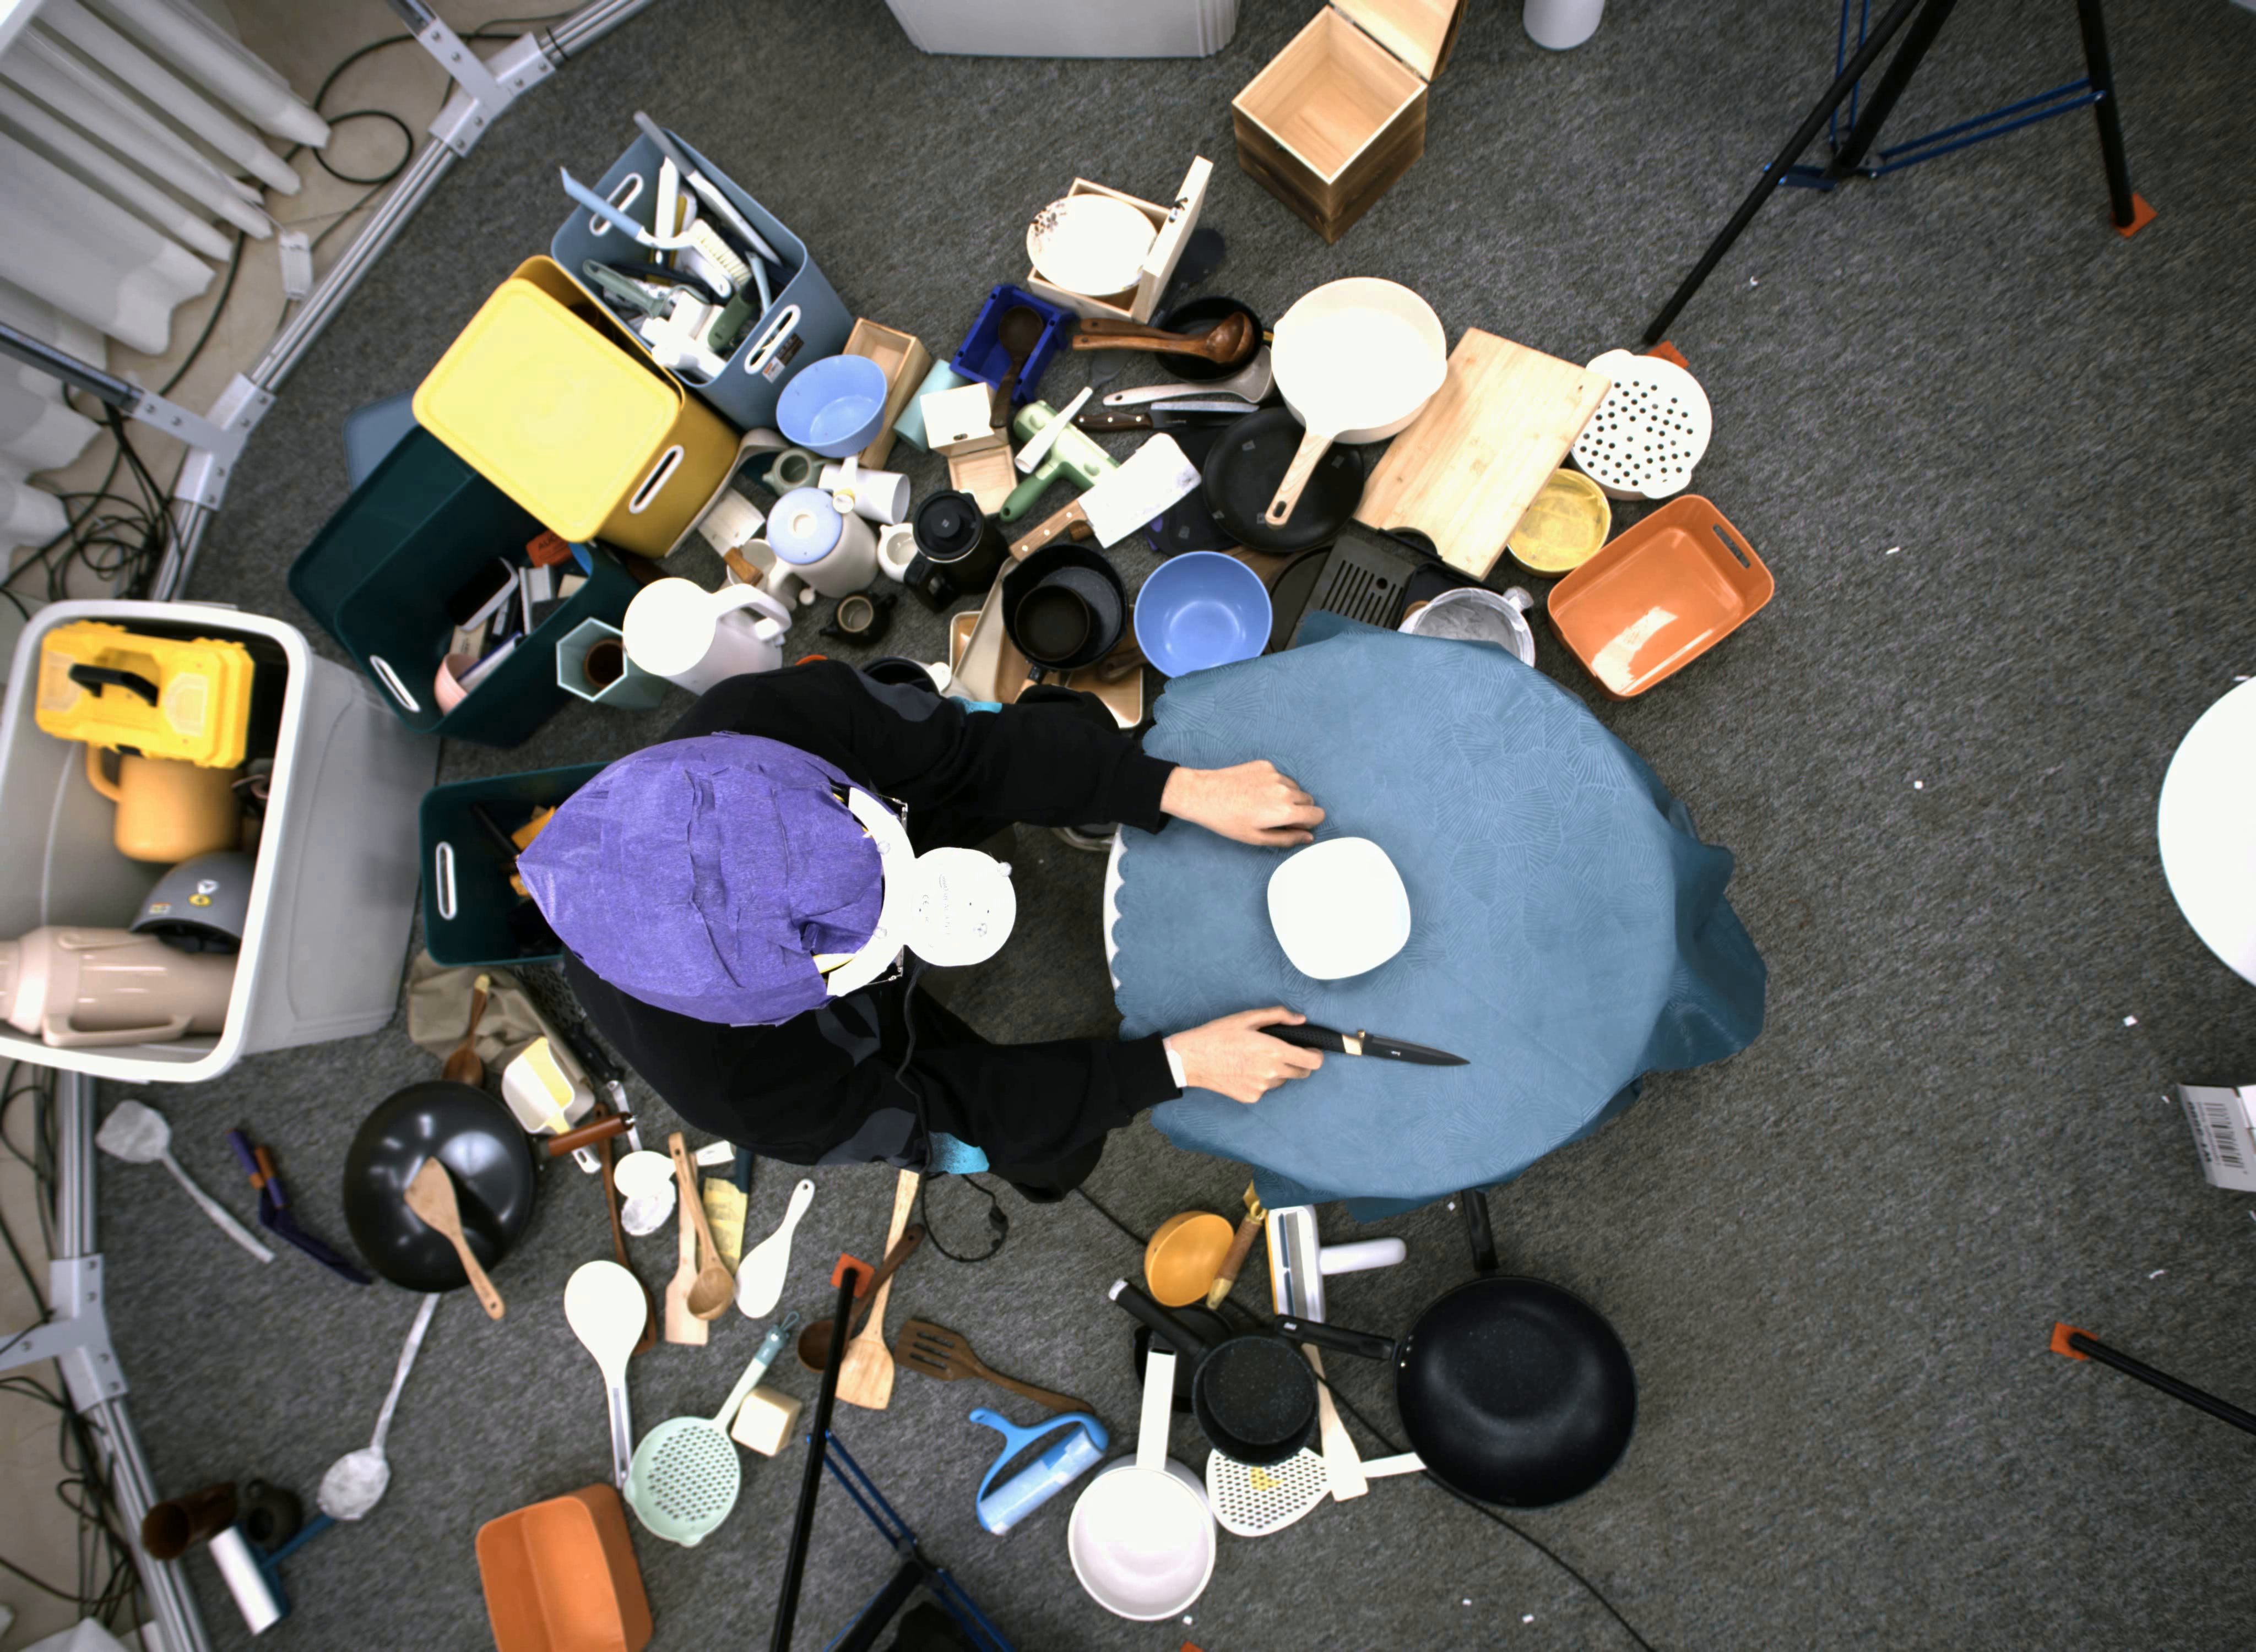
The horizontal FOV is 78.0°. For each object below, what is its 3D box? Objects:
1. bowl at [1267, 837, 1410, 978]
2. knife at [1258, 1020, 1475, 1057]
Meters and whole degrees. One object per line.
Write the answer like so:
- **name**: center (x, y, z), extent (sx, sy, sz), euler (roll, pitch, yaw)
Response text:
- **bowl**: center (0.219, 0.085, 1.441), extent (0.152, 0.058, 0.151), euler (-1, 88, 10)
- **knife**: center (0.249, 0.225, 1.450), extent (0.226, 0.017, 0.026), euler (6, 80, 9)
